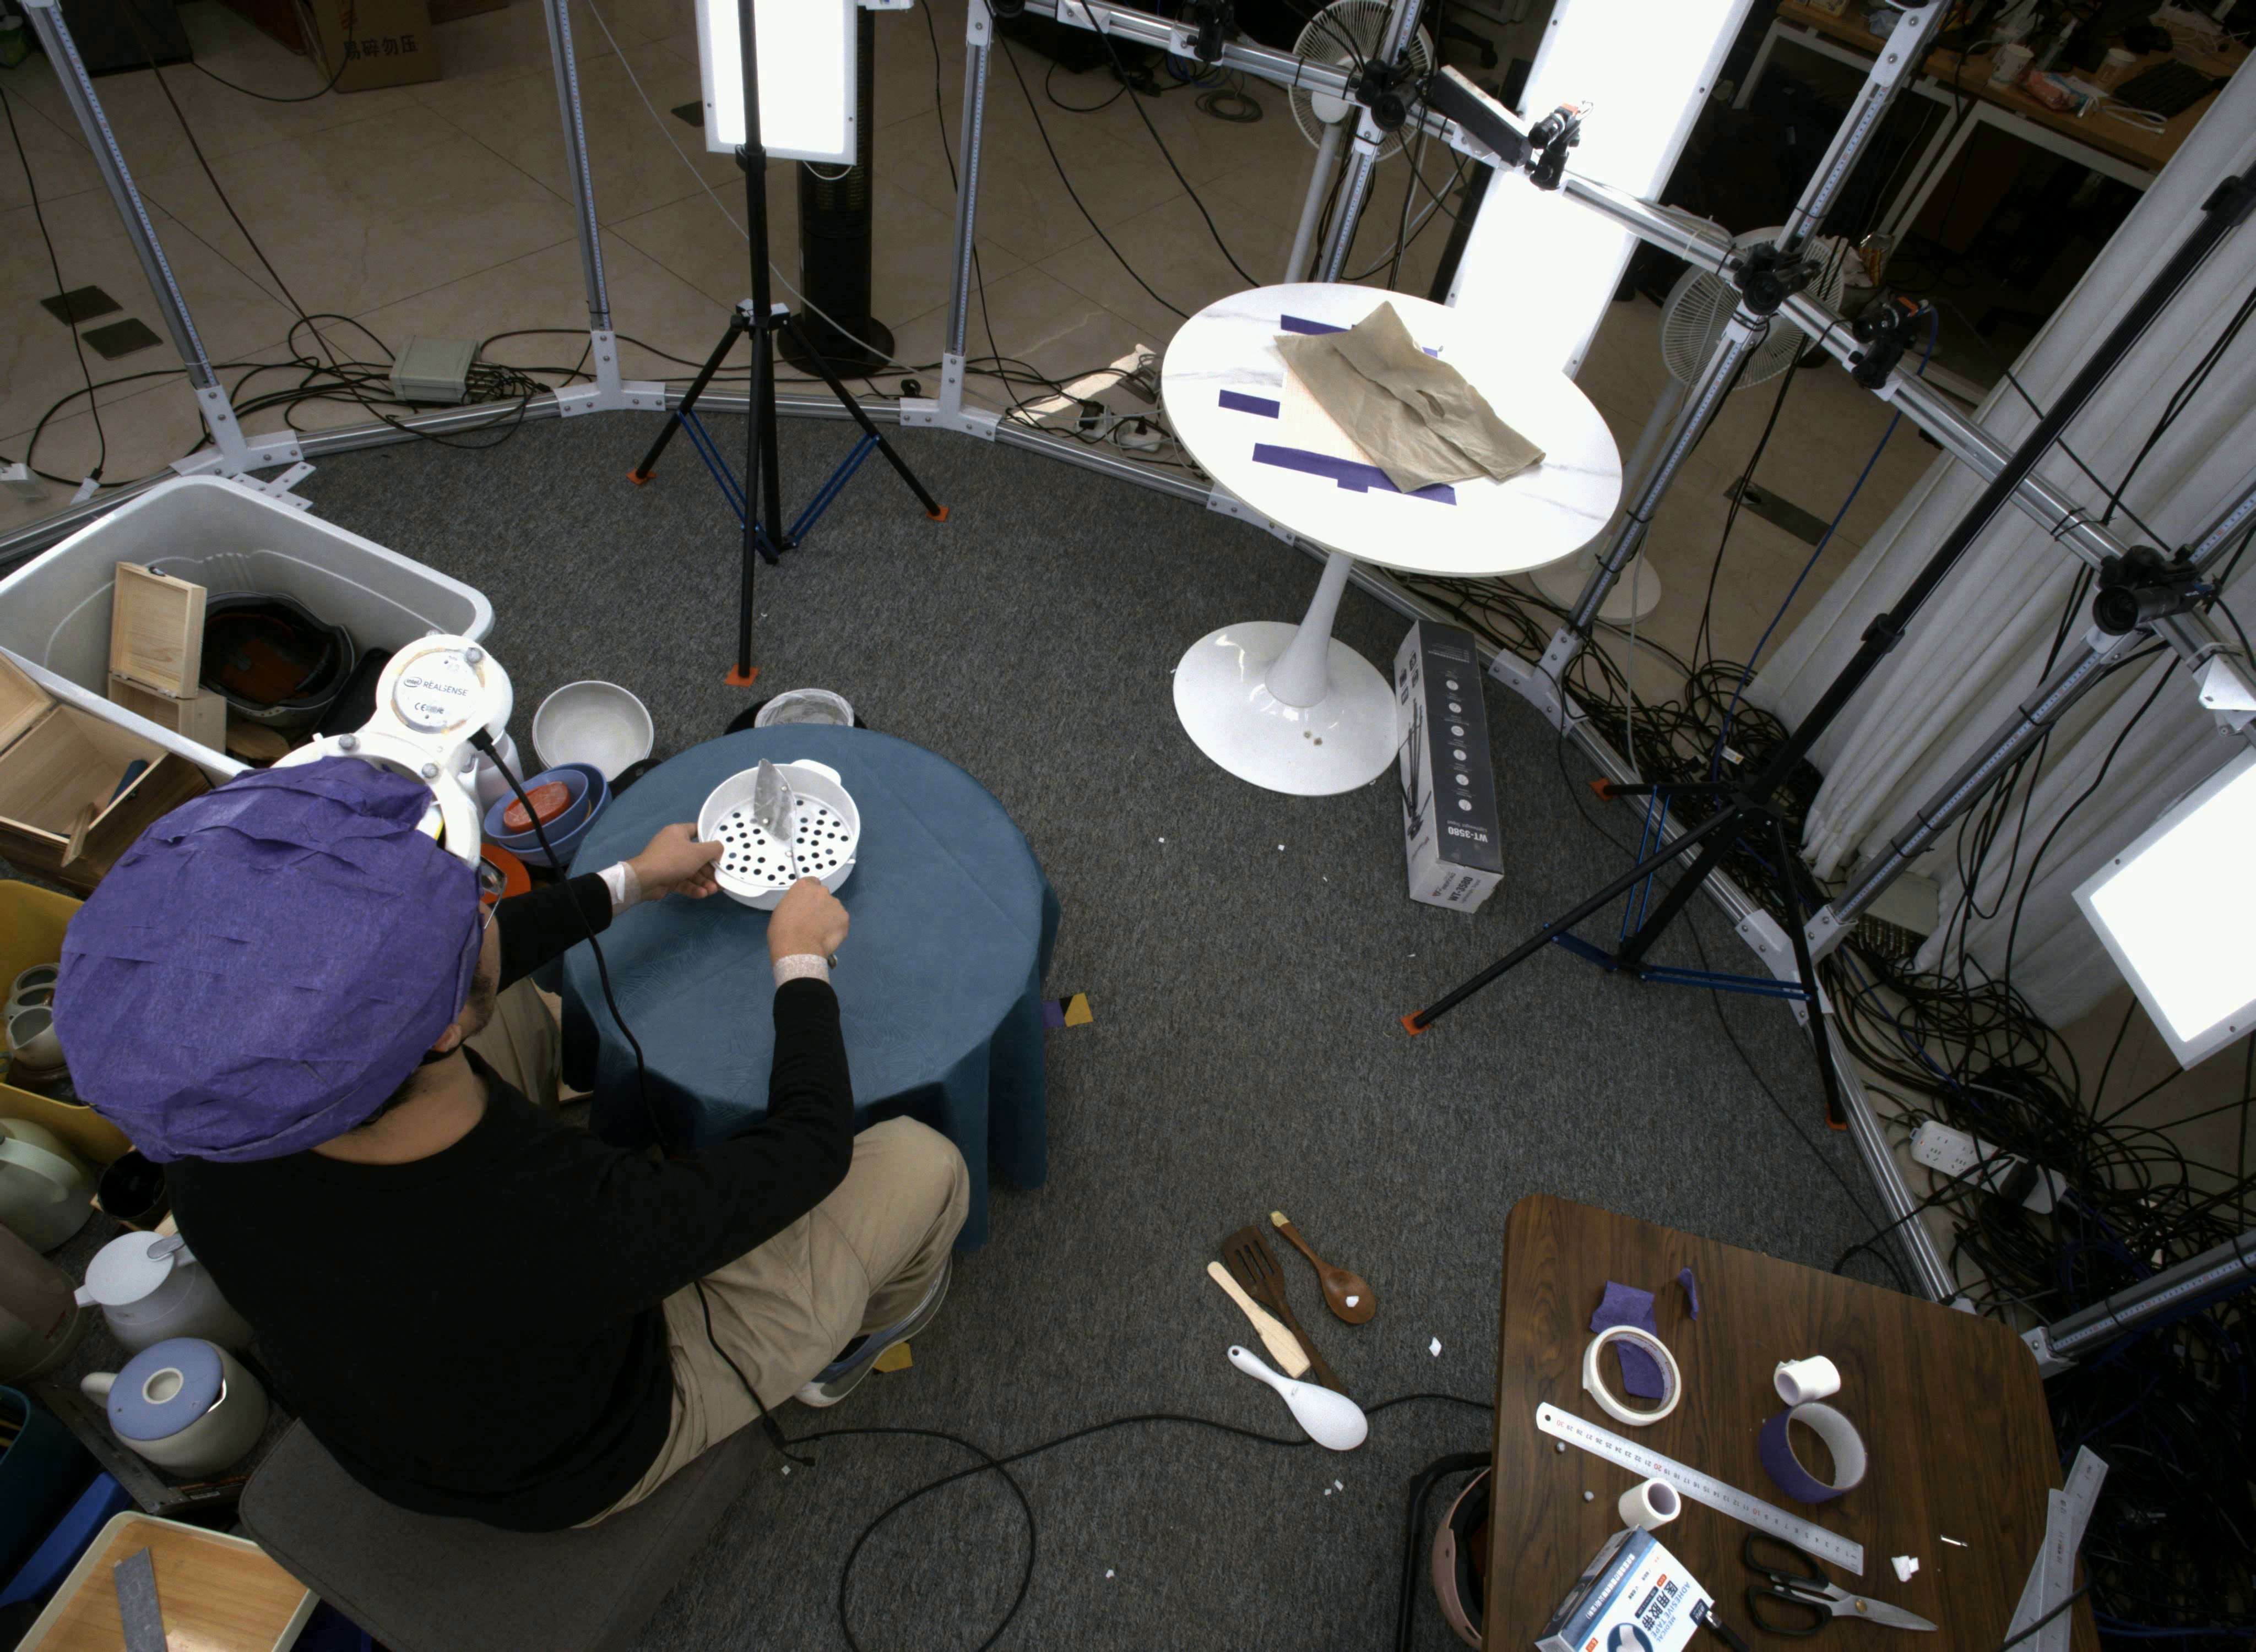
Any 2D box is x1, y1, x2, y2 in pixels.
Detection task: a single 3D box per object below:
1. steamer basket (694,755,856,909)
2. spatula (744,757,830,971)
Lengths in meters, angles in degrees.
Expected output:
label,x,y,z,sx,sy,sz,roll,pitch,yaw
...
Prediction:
label,x,y,z,sx,sy,sz,roll,pitch,yaw
steamer basket,-0.449,0.011,1.659,0.199,0.070,0.228,21,53,4
spatula,-0.414,0.046,1.566,0.045,0.100,0.352,3,35,-28
